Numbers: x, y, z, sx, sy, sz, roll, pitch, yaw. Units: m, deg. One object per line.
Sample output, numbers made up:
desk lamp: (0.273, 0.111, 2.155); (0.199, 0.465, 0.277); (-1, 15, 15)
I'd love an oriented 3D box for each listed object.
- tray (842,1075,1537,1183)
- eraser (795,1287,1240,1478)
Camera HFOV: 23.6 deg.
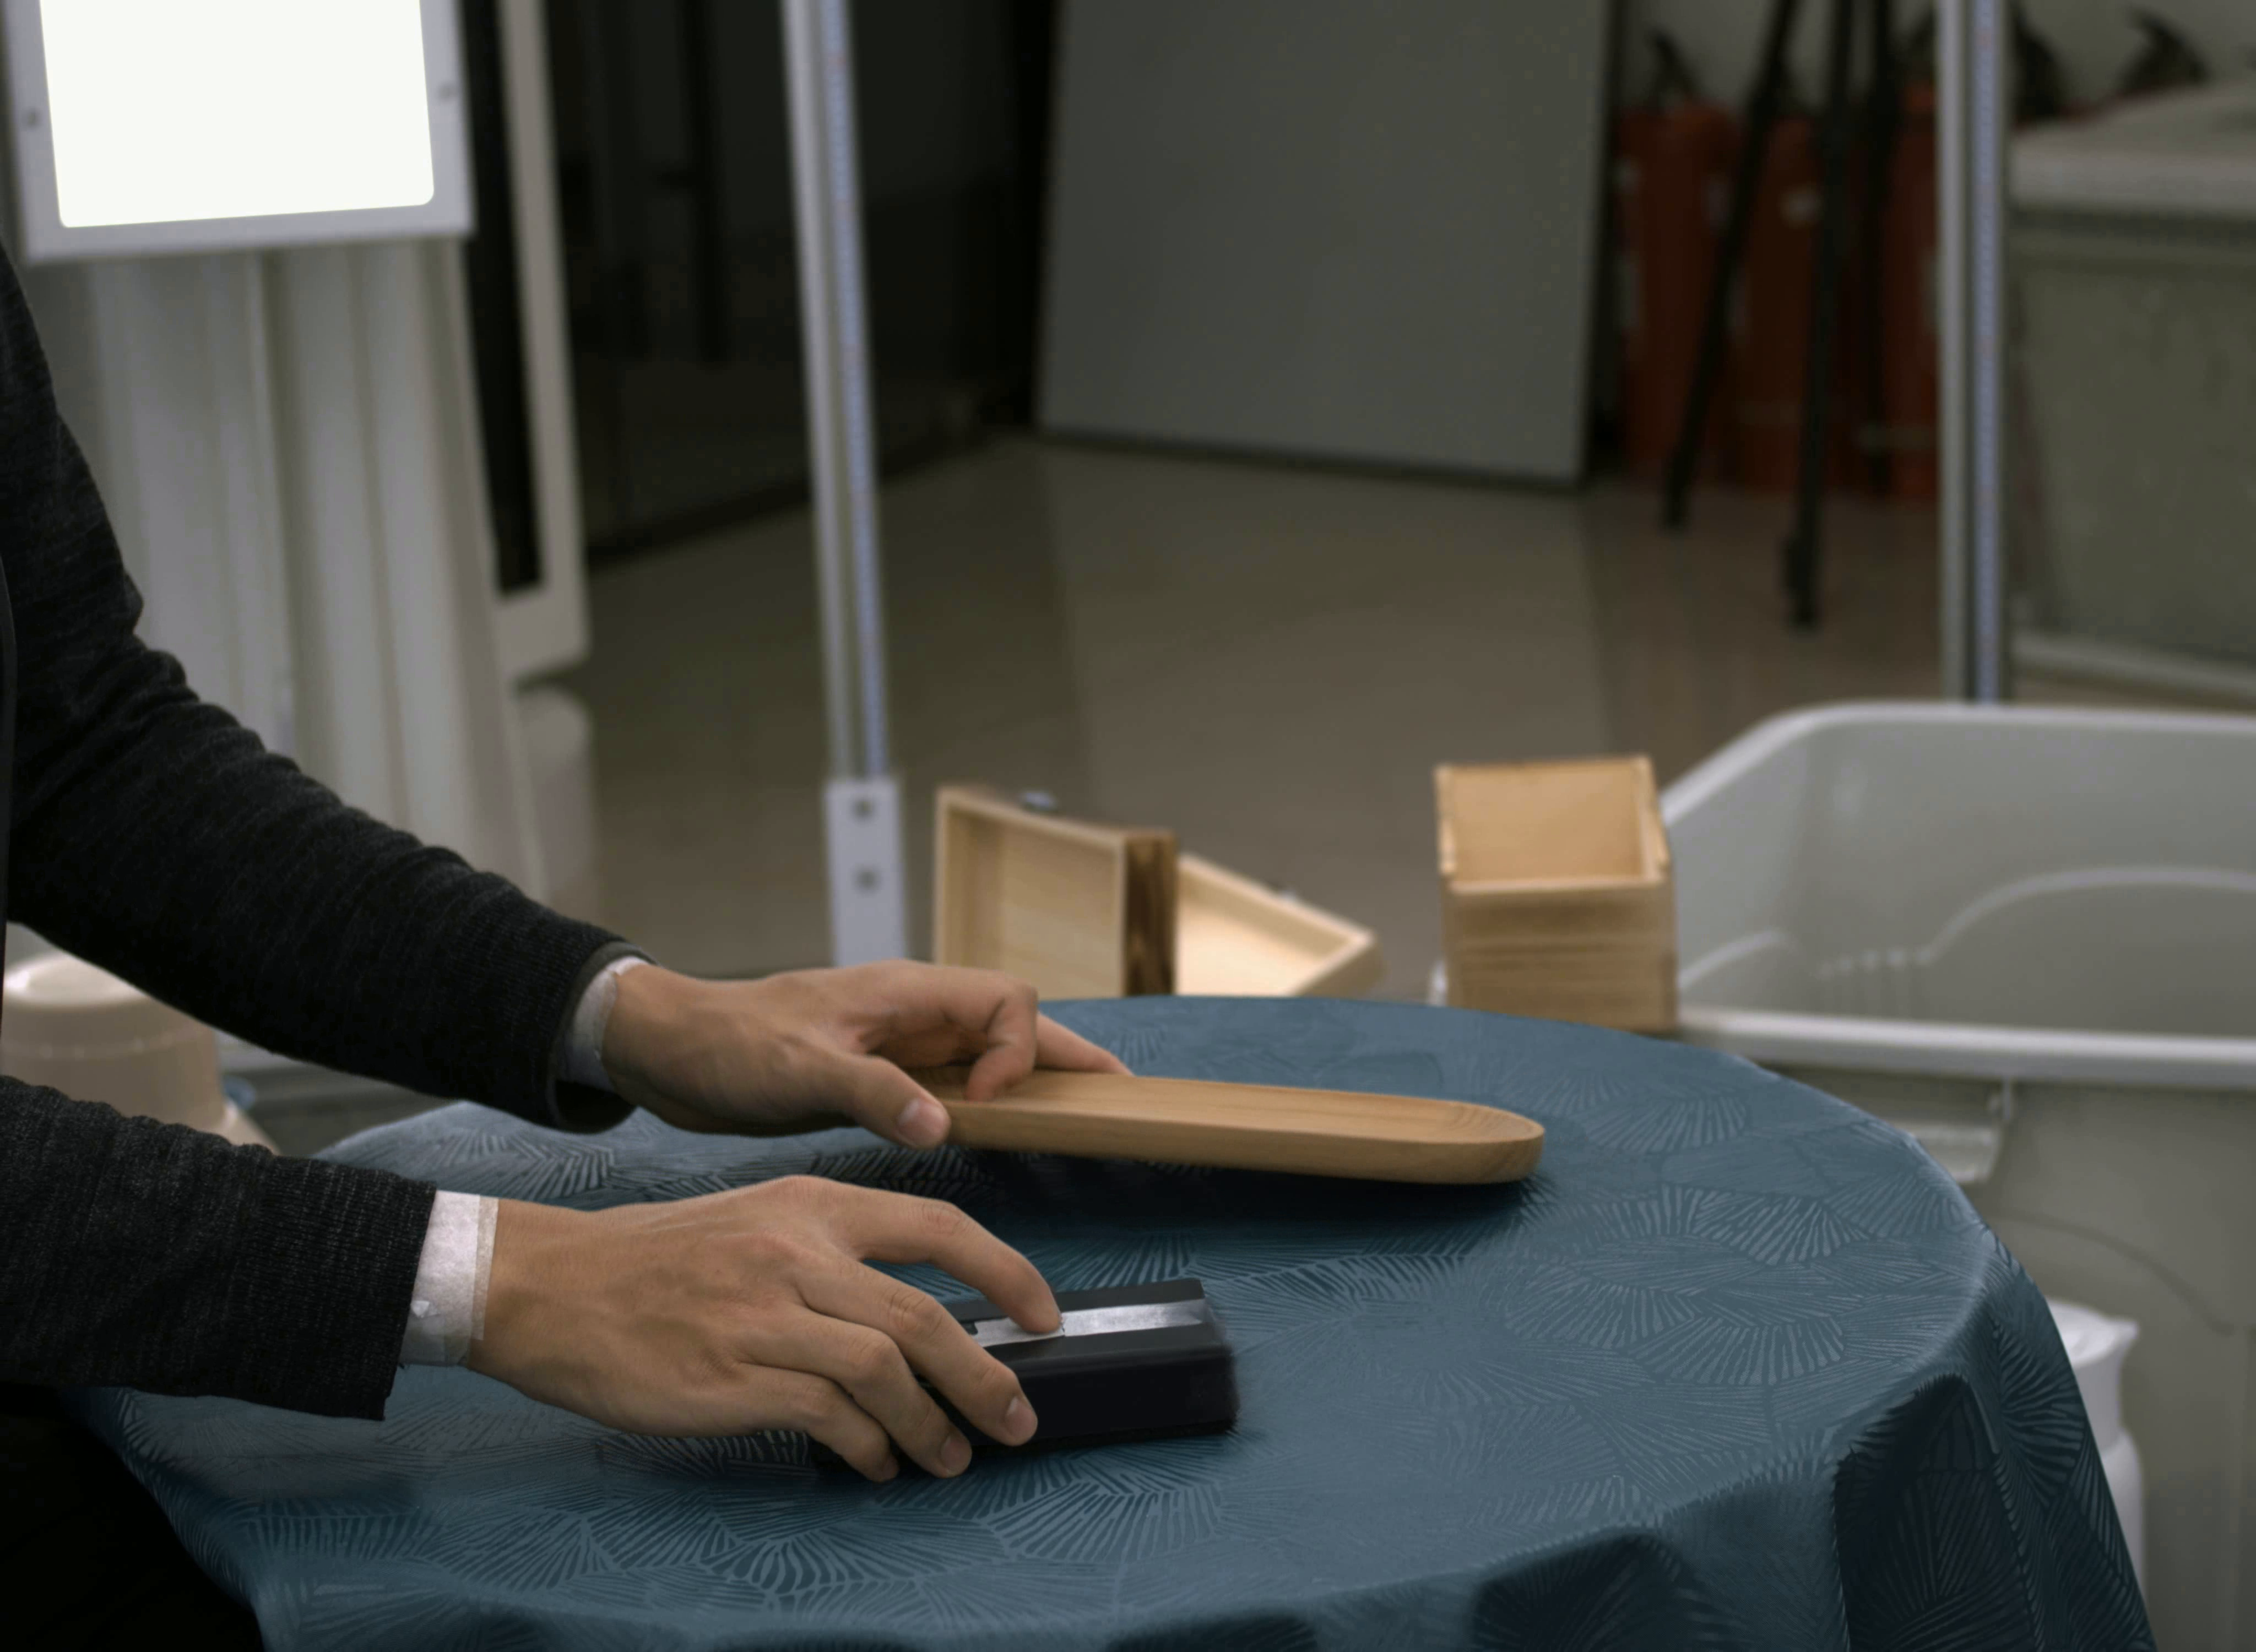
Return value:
tray: (0.020, 0.099, 1.763); (0.229, 0.020, 0.101); (2, 4, 9)
eraser: (-0.031, 0.160, 1.555); (0.123, 0.031, 0.054); (-6, 16, -7)
